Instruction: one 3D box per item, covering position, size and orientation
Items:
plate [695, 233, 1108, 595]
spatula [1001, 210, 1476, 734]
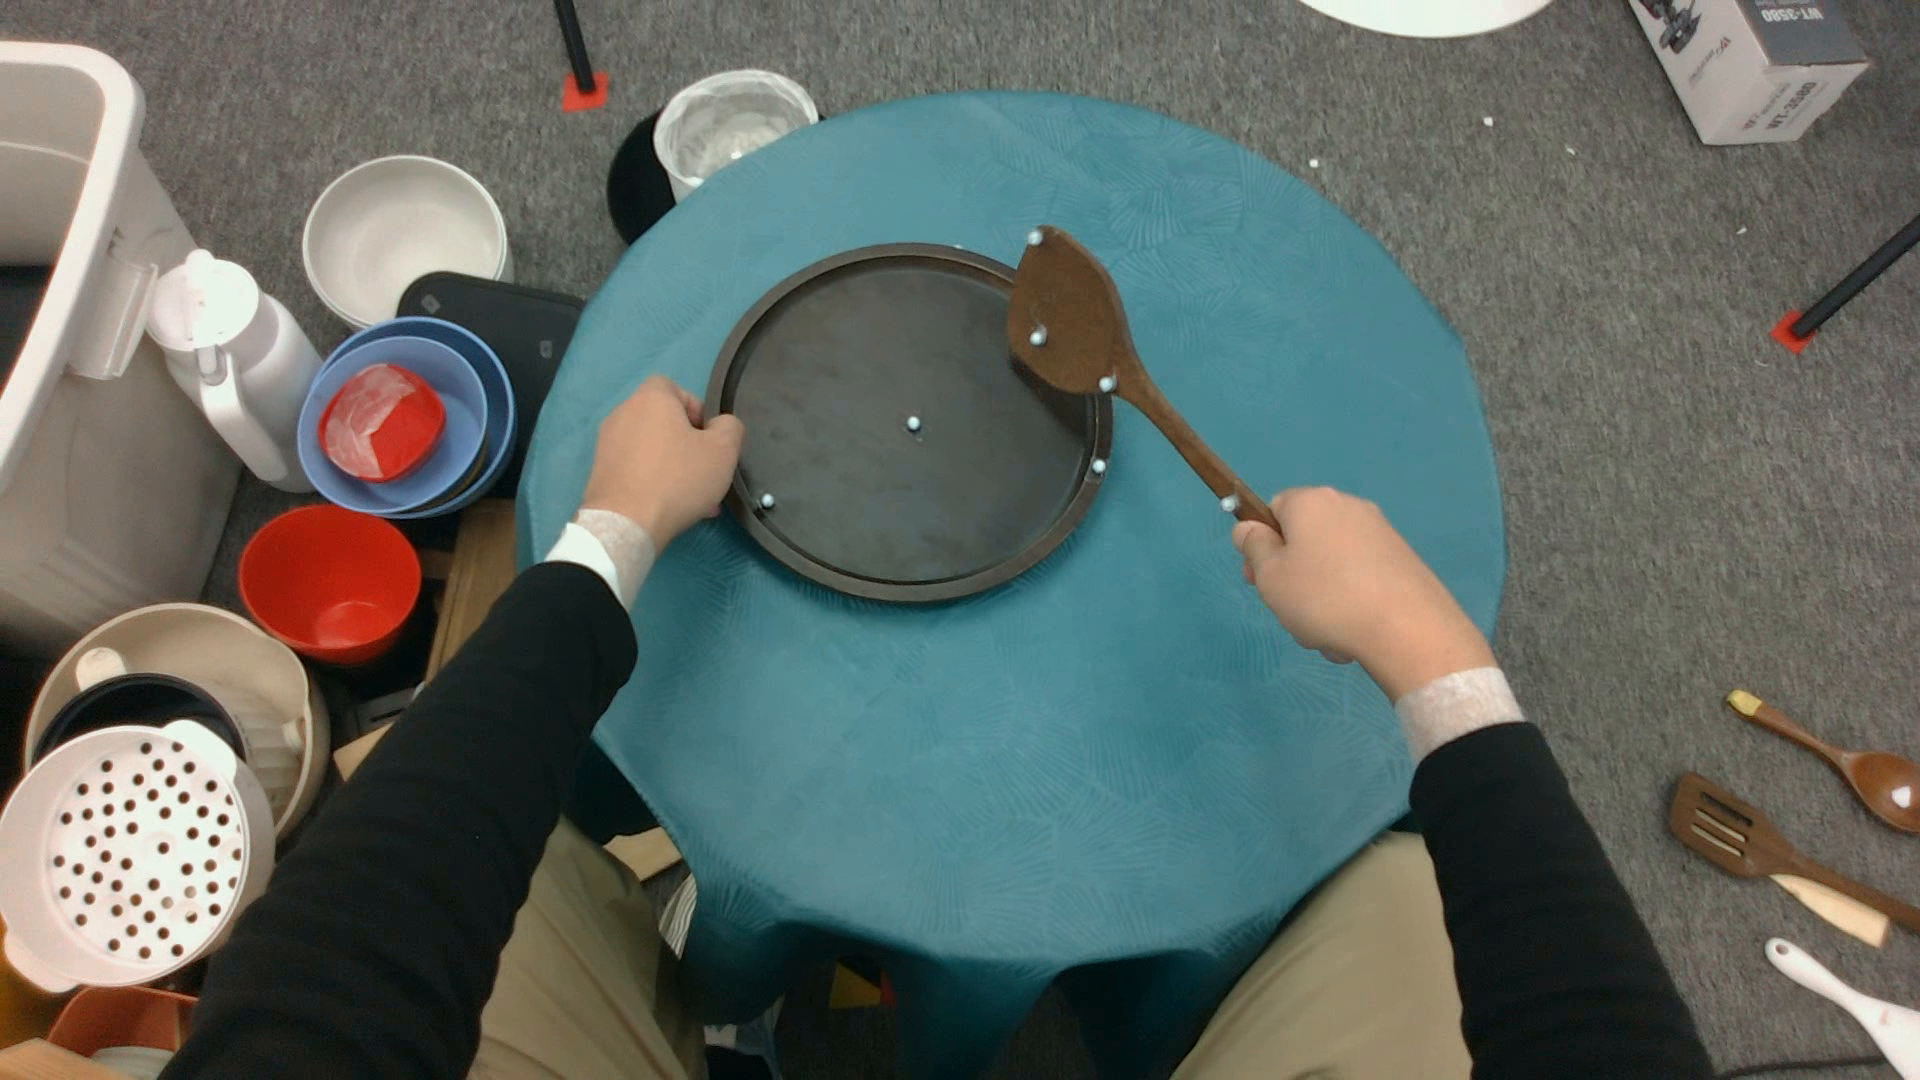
[{"bbox_3d":[-0.036,-0.082,0.851,0.255,0.029,0.255,2,65,-3],"label":"plate"},{"bbox_3d":[0.134,-0.042,0.738,0.016,0.095,0.386,-16,52,-31],"label":"spatula"}]
